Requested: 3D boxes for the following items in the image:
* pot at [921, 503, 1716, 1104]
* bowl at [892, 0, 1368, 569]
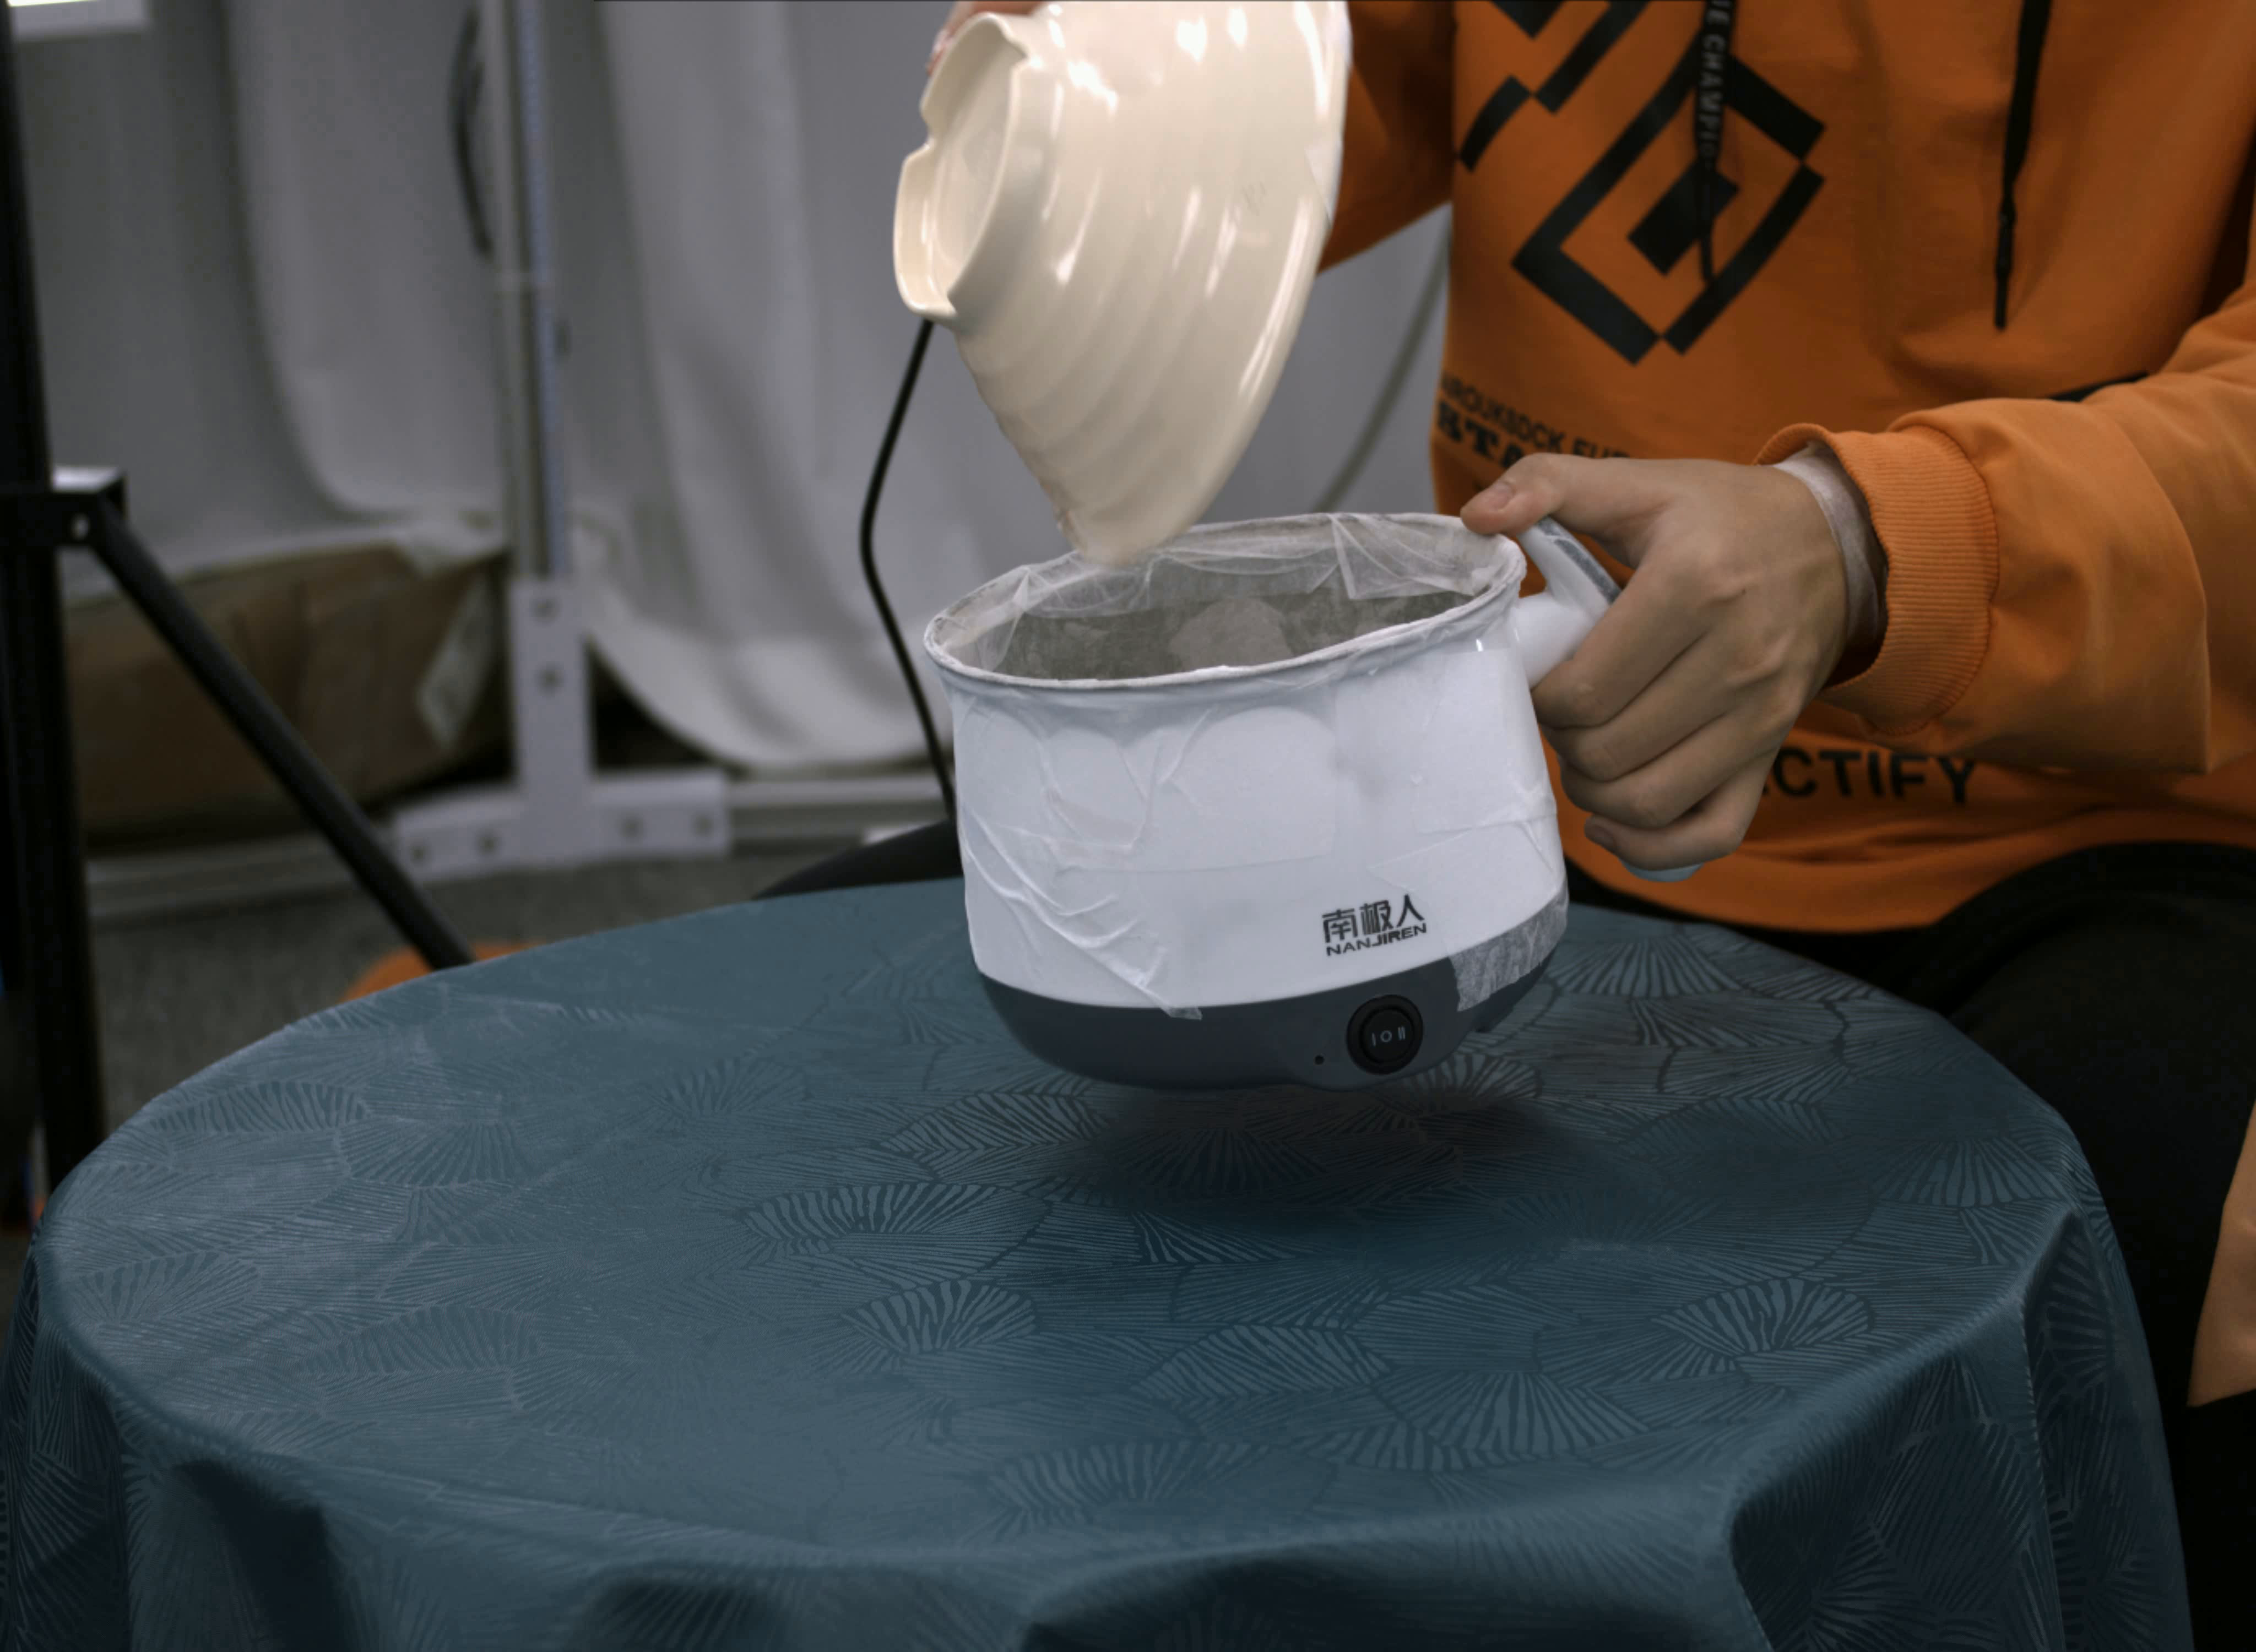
[{"bbox_3d":[0.061,-0.014,1.571,0.230,0.136,0.182,-14,18,-17],"label":"pot"},{"bbox_3d":[-0.014,-0.181,1.518,0.076,0.205,0.207,14,9,-24],"label":"bowl"}]
